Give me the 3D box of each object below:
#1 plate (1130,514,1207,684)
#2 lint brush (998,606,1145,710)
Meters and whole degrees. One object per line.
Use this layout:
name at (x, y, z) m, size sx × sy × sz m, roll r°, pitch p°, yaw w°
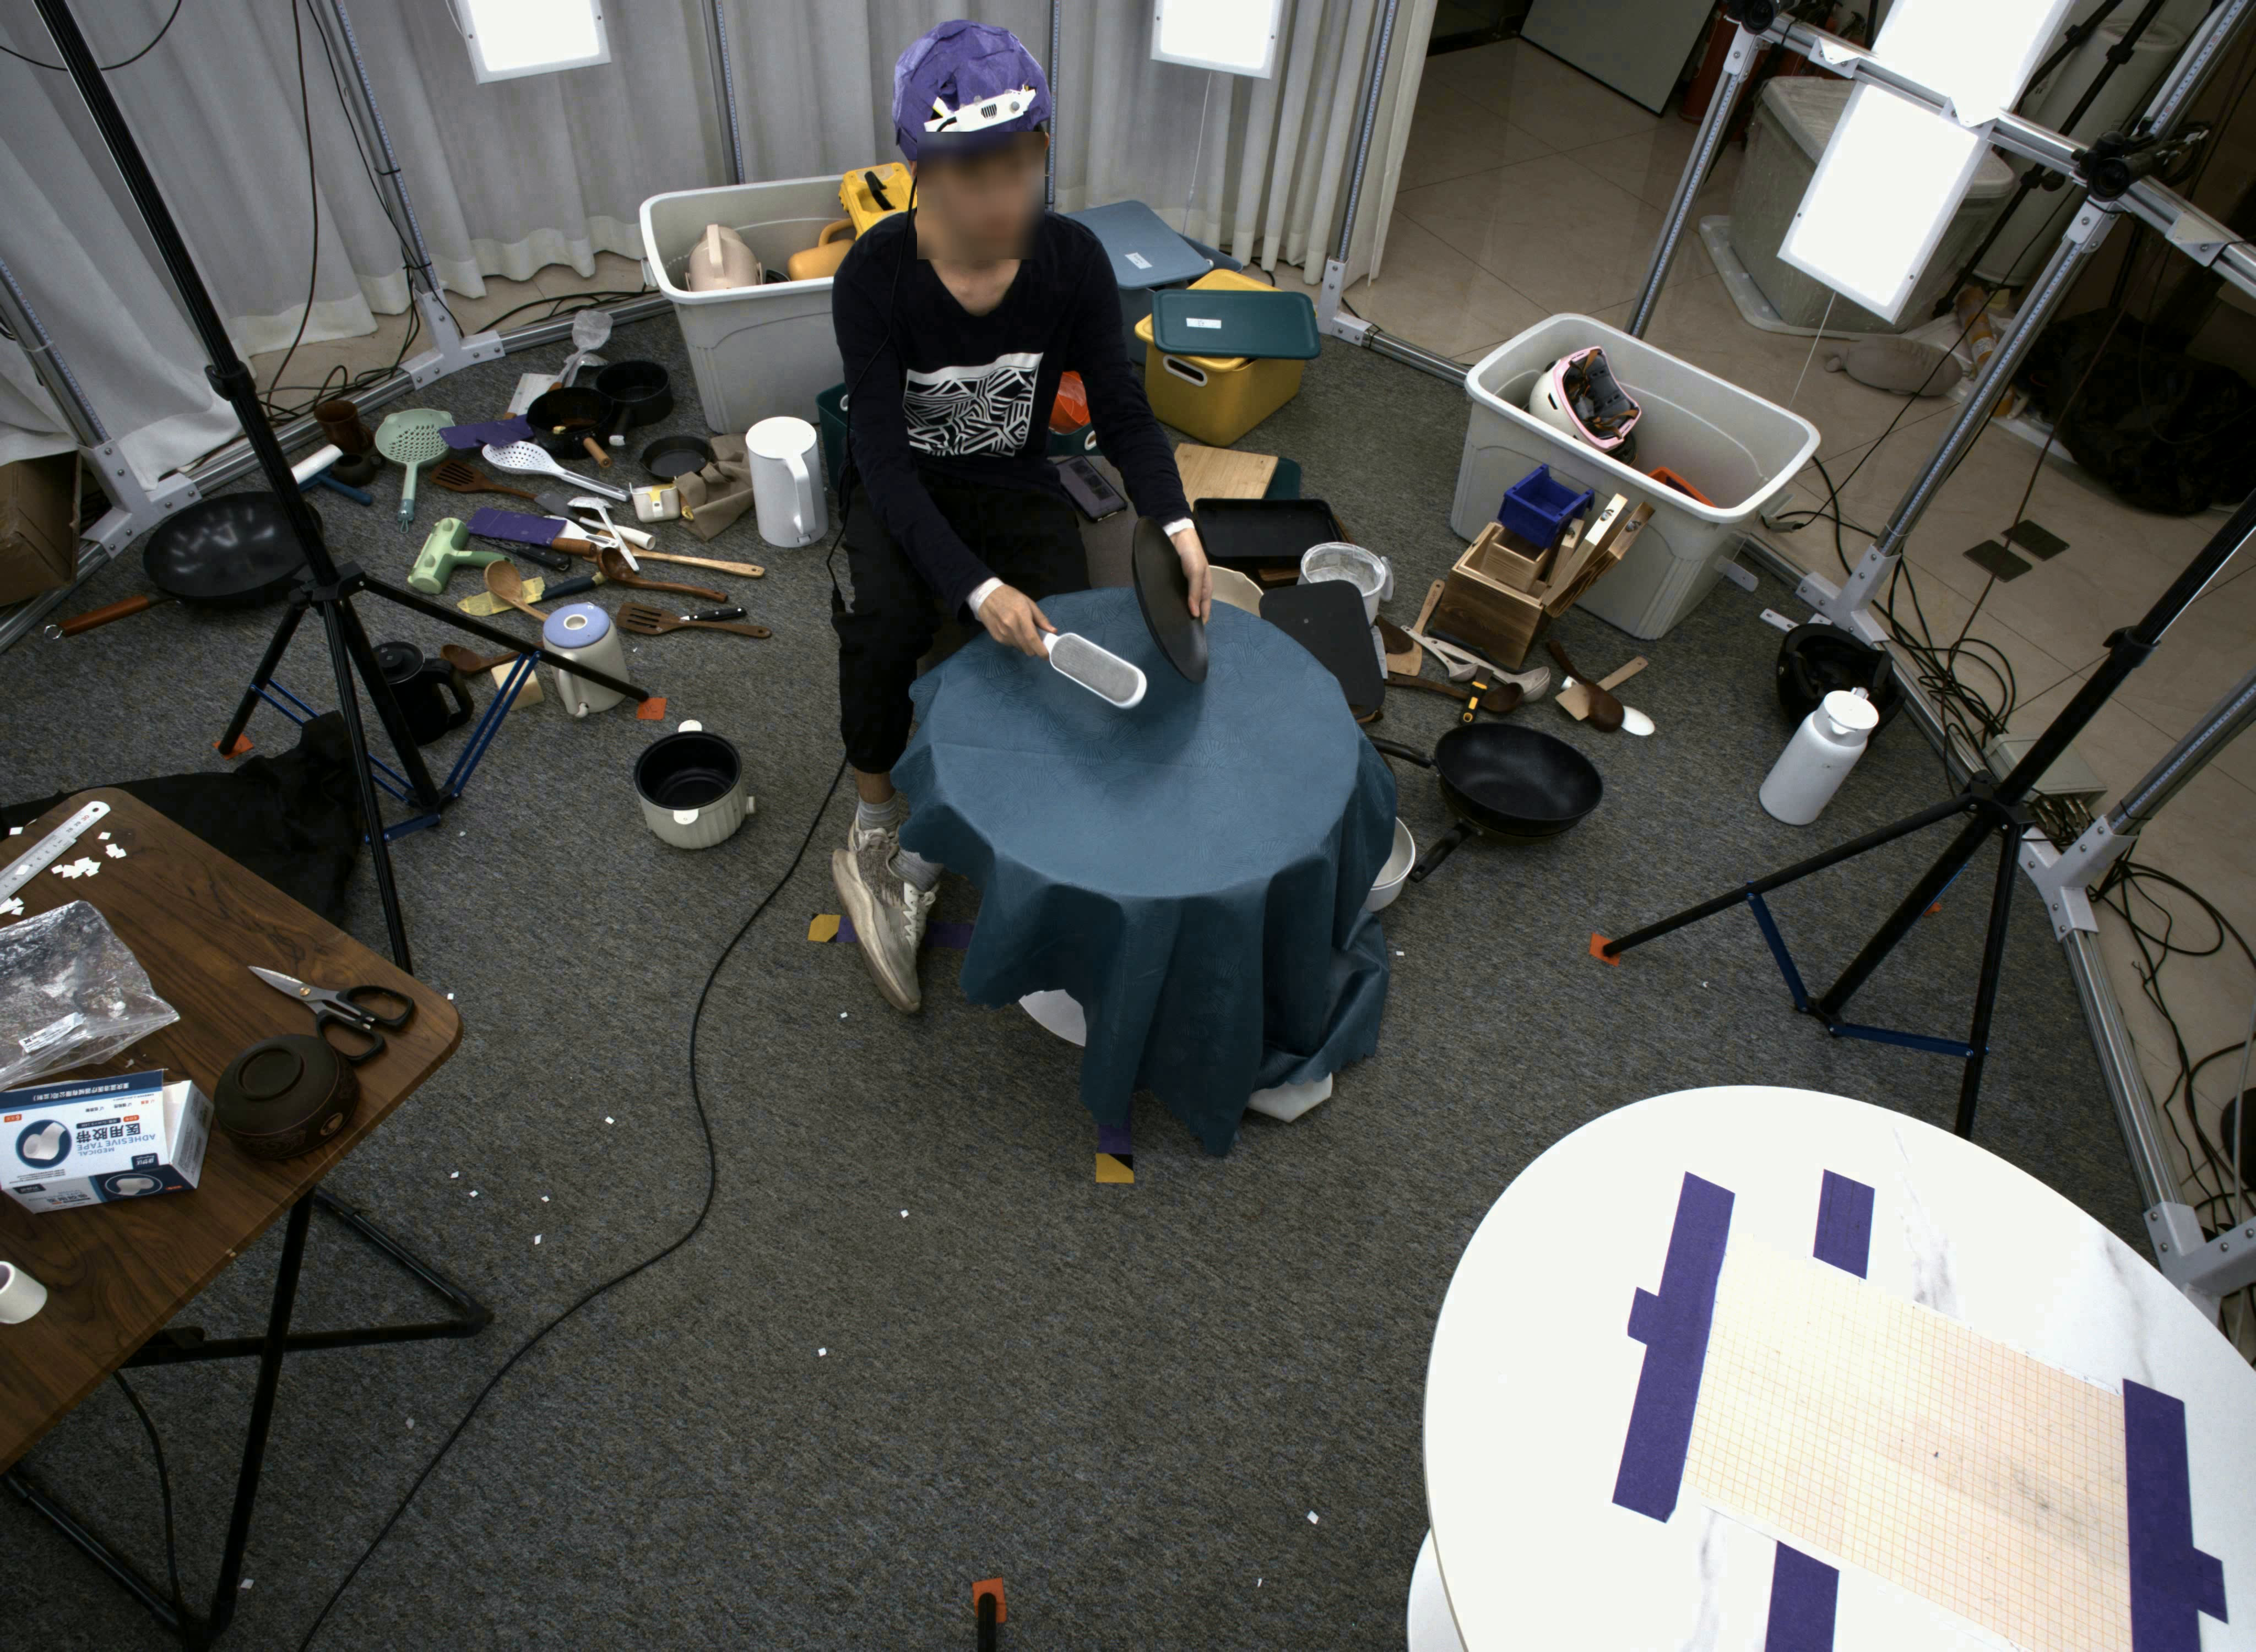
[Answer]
plate at (0.052, -0.310, 1.775) m, size 0.023 × 0.239 × 0.250 m, roll -17°, pitch 46°, yaw 21°
lint brush at (-0.083, -0.239, 1.762) m, size 0.314 × 0.060 × 0.020 m, roll 35°, pitch 11°, yaw 39°
